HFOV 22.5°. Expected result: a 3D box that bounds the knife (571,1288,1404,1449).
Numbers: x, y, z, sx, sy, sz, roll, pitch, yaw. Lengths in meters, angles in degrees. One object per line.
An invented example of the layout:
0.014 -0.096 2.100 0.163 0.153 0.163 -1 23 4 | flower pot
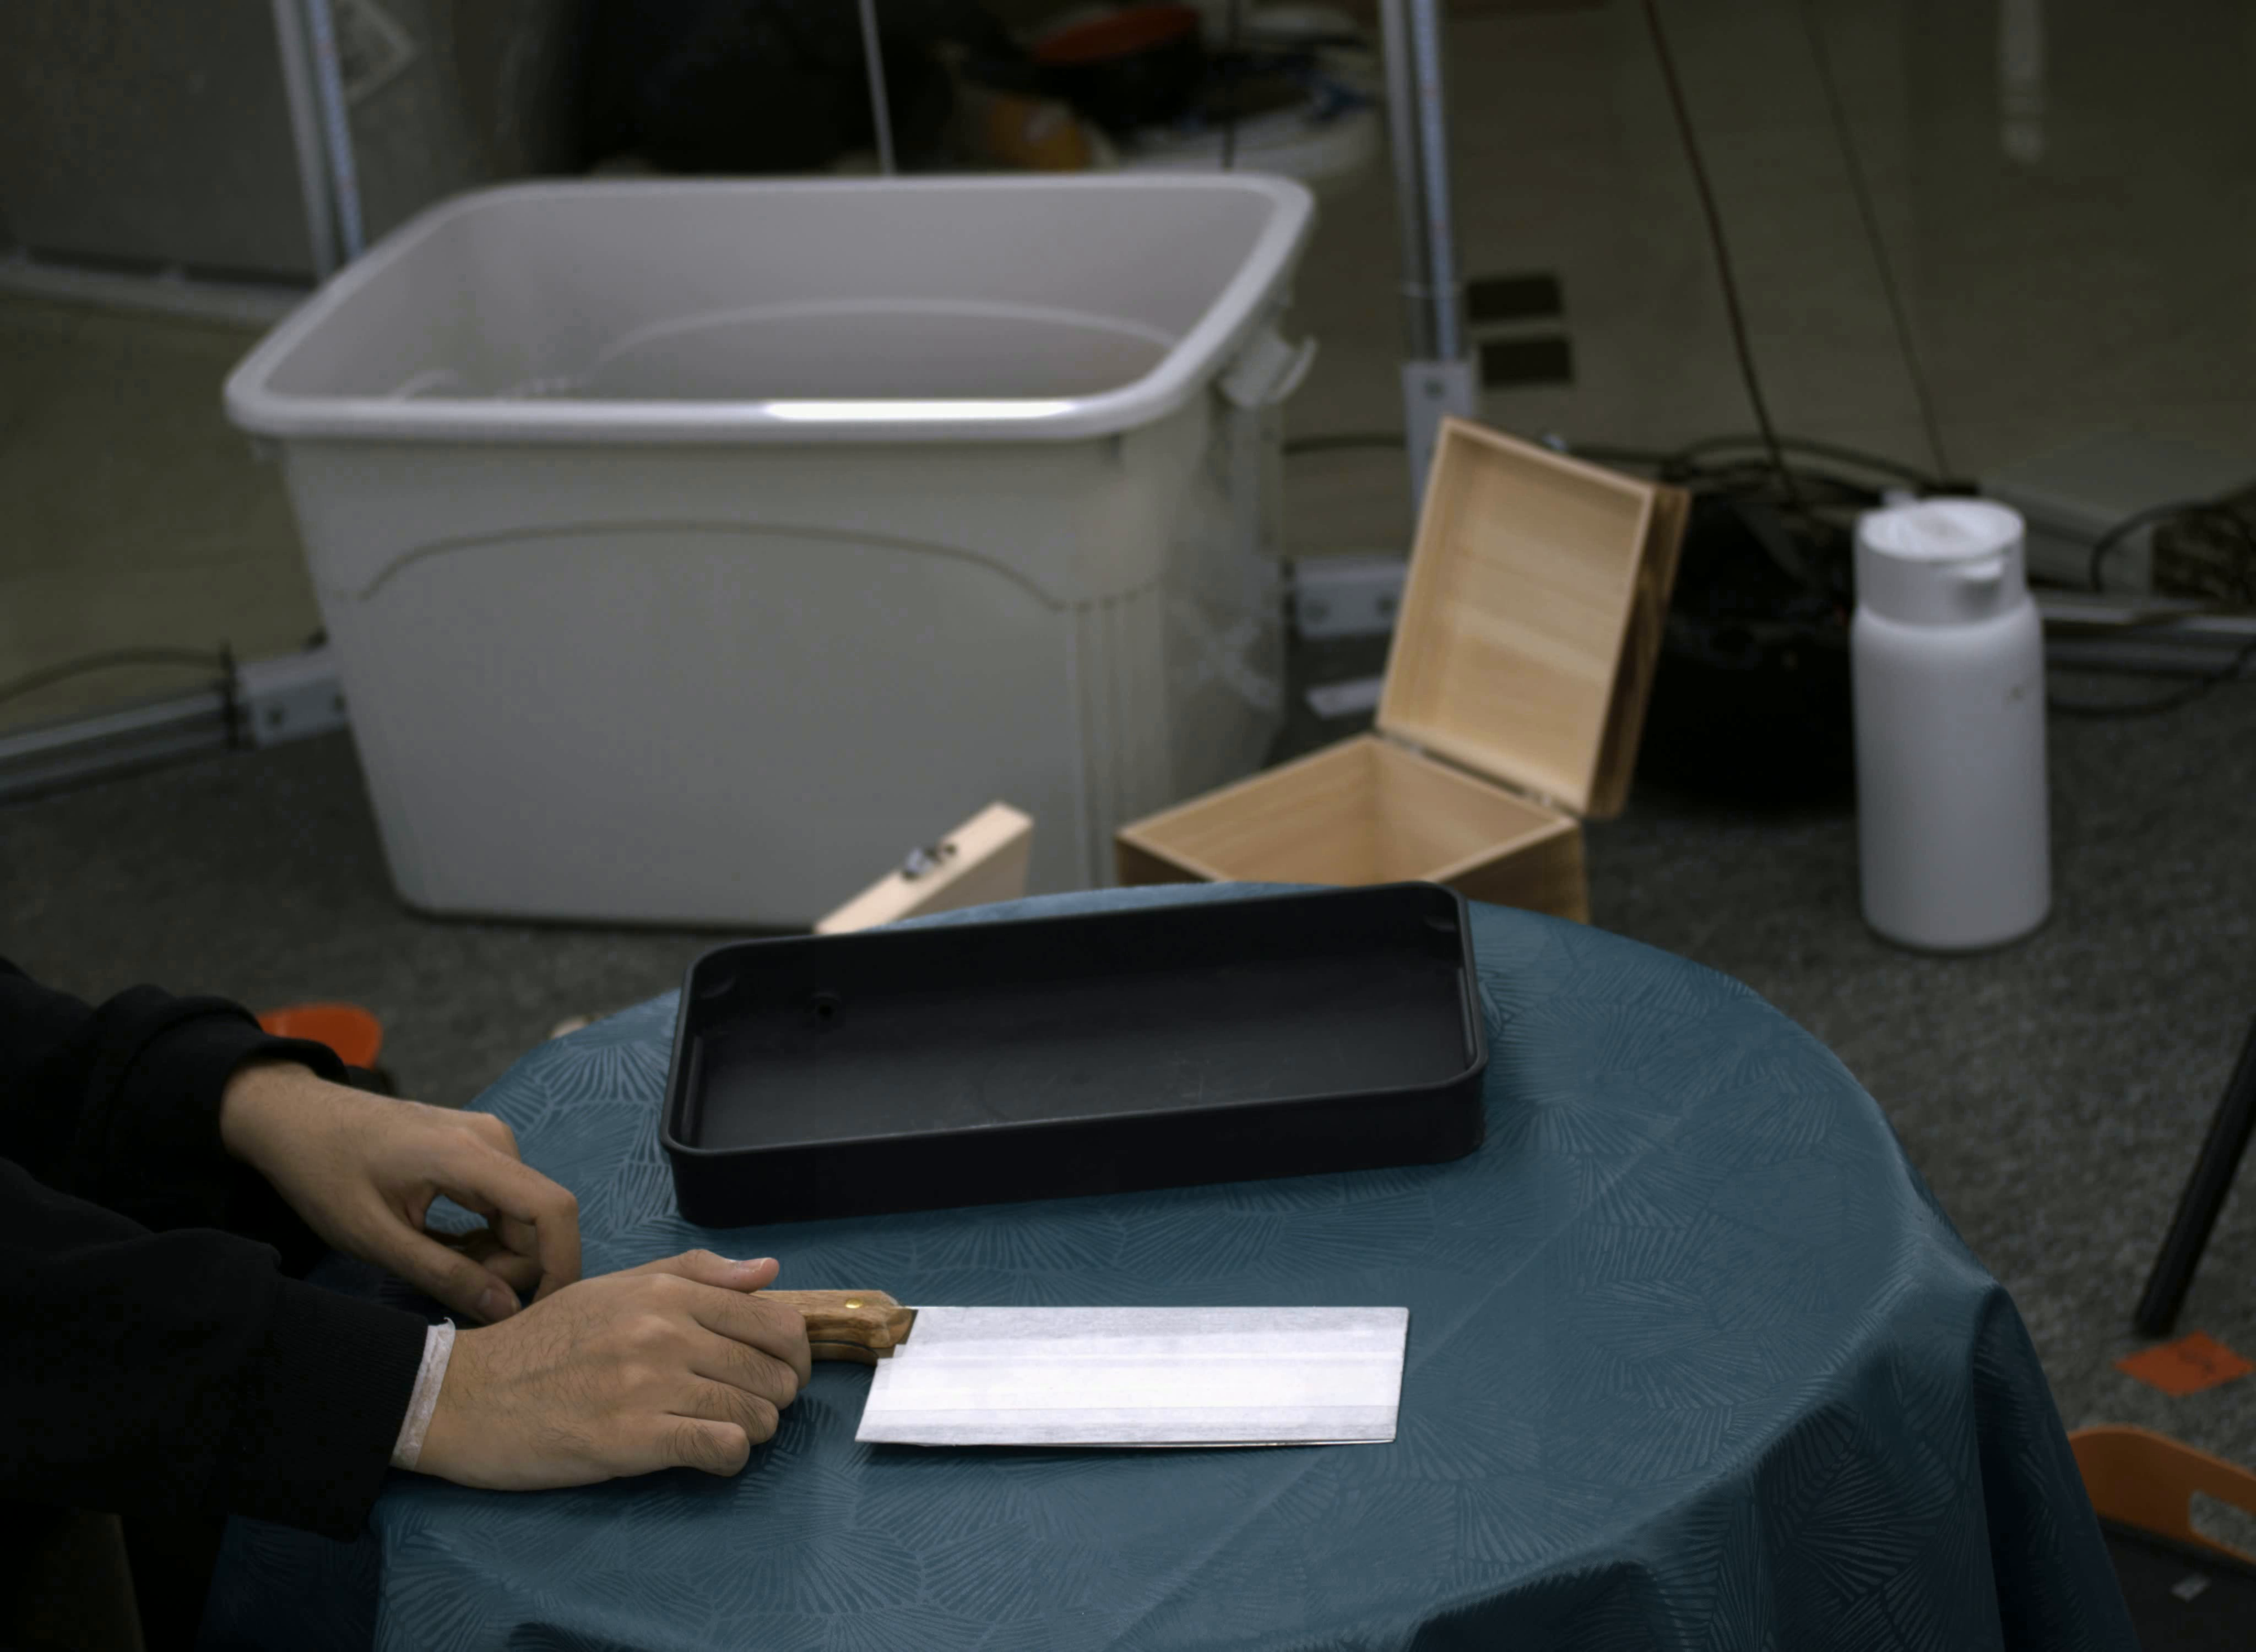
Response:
-0.054 0.195 2.024 0.305 0.021 0.091 -1 27 7 | knife

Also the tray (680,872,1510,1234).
-0.014 0.087 2.218 0.317 0.037 0.181 -6 25 1 | tray
